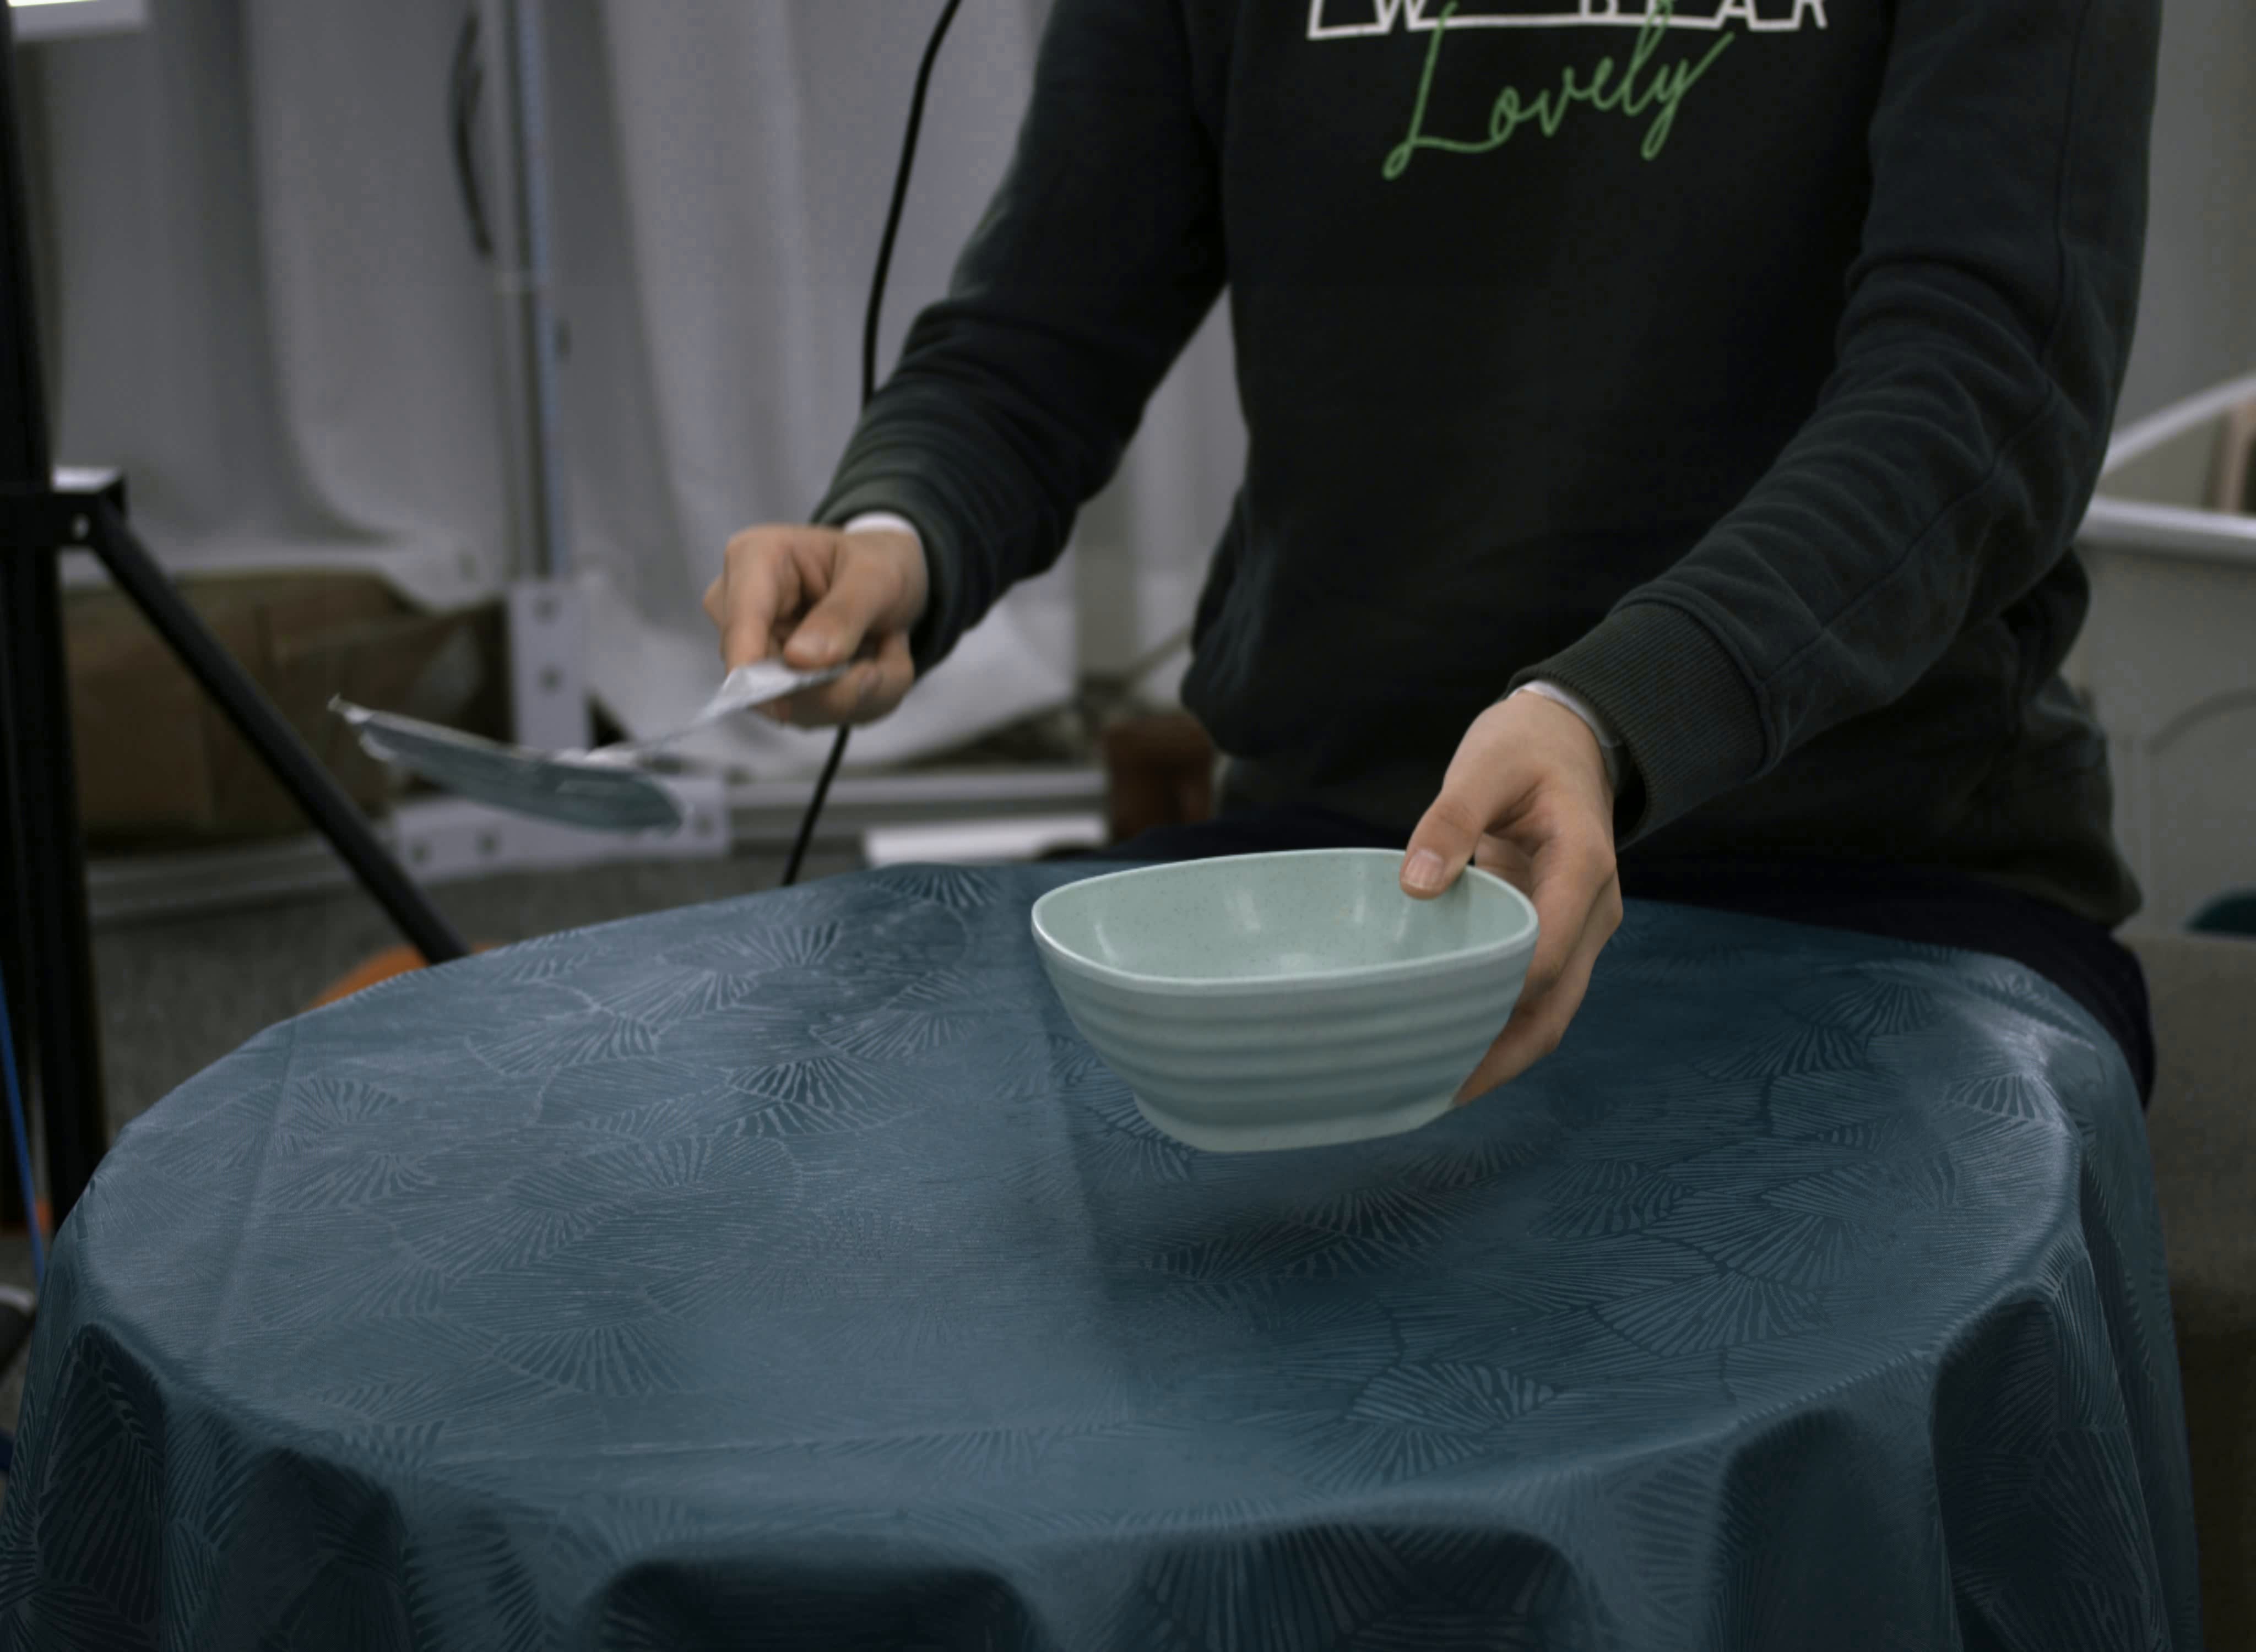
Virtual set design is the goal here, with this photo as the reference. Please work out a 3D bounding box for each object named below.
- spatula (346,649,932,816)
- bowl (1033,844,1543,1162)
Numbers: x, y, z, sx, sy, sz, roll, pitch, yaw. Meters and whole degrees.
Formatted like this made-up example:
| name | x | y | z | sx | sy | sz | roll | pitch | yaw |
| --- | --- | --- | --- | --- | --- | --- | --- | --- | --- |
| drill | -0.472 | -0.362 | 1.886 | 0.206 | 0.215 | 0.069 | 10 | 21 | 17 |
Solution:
| name | x | y | z | sx | sy | sz | roll | pitch | yaw |
| --- | --- | --- | --- | --- | --- | --- | --- | --- | --- |
| spatula | -0.127 | -0.041 | 1.629 | 0.099 | 0.045 | 0.360 | 9 | 13 | 16 |
| bowl | 0.046 | 0.053 | 1.504 | 0.150 | 0.058 | 0.152 | -3 | 15 | -1 |
